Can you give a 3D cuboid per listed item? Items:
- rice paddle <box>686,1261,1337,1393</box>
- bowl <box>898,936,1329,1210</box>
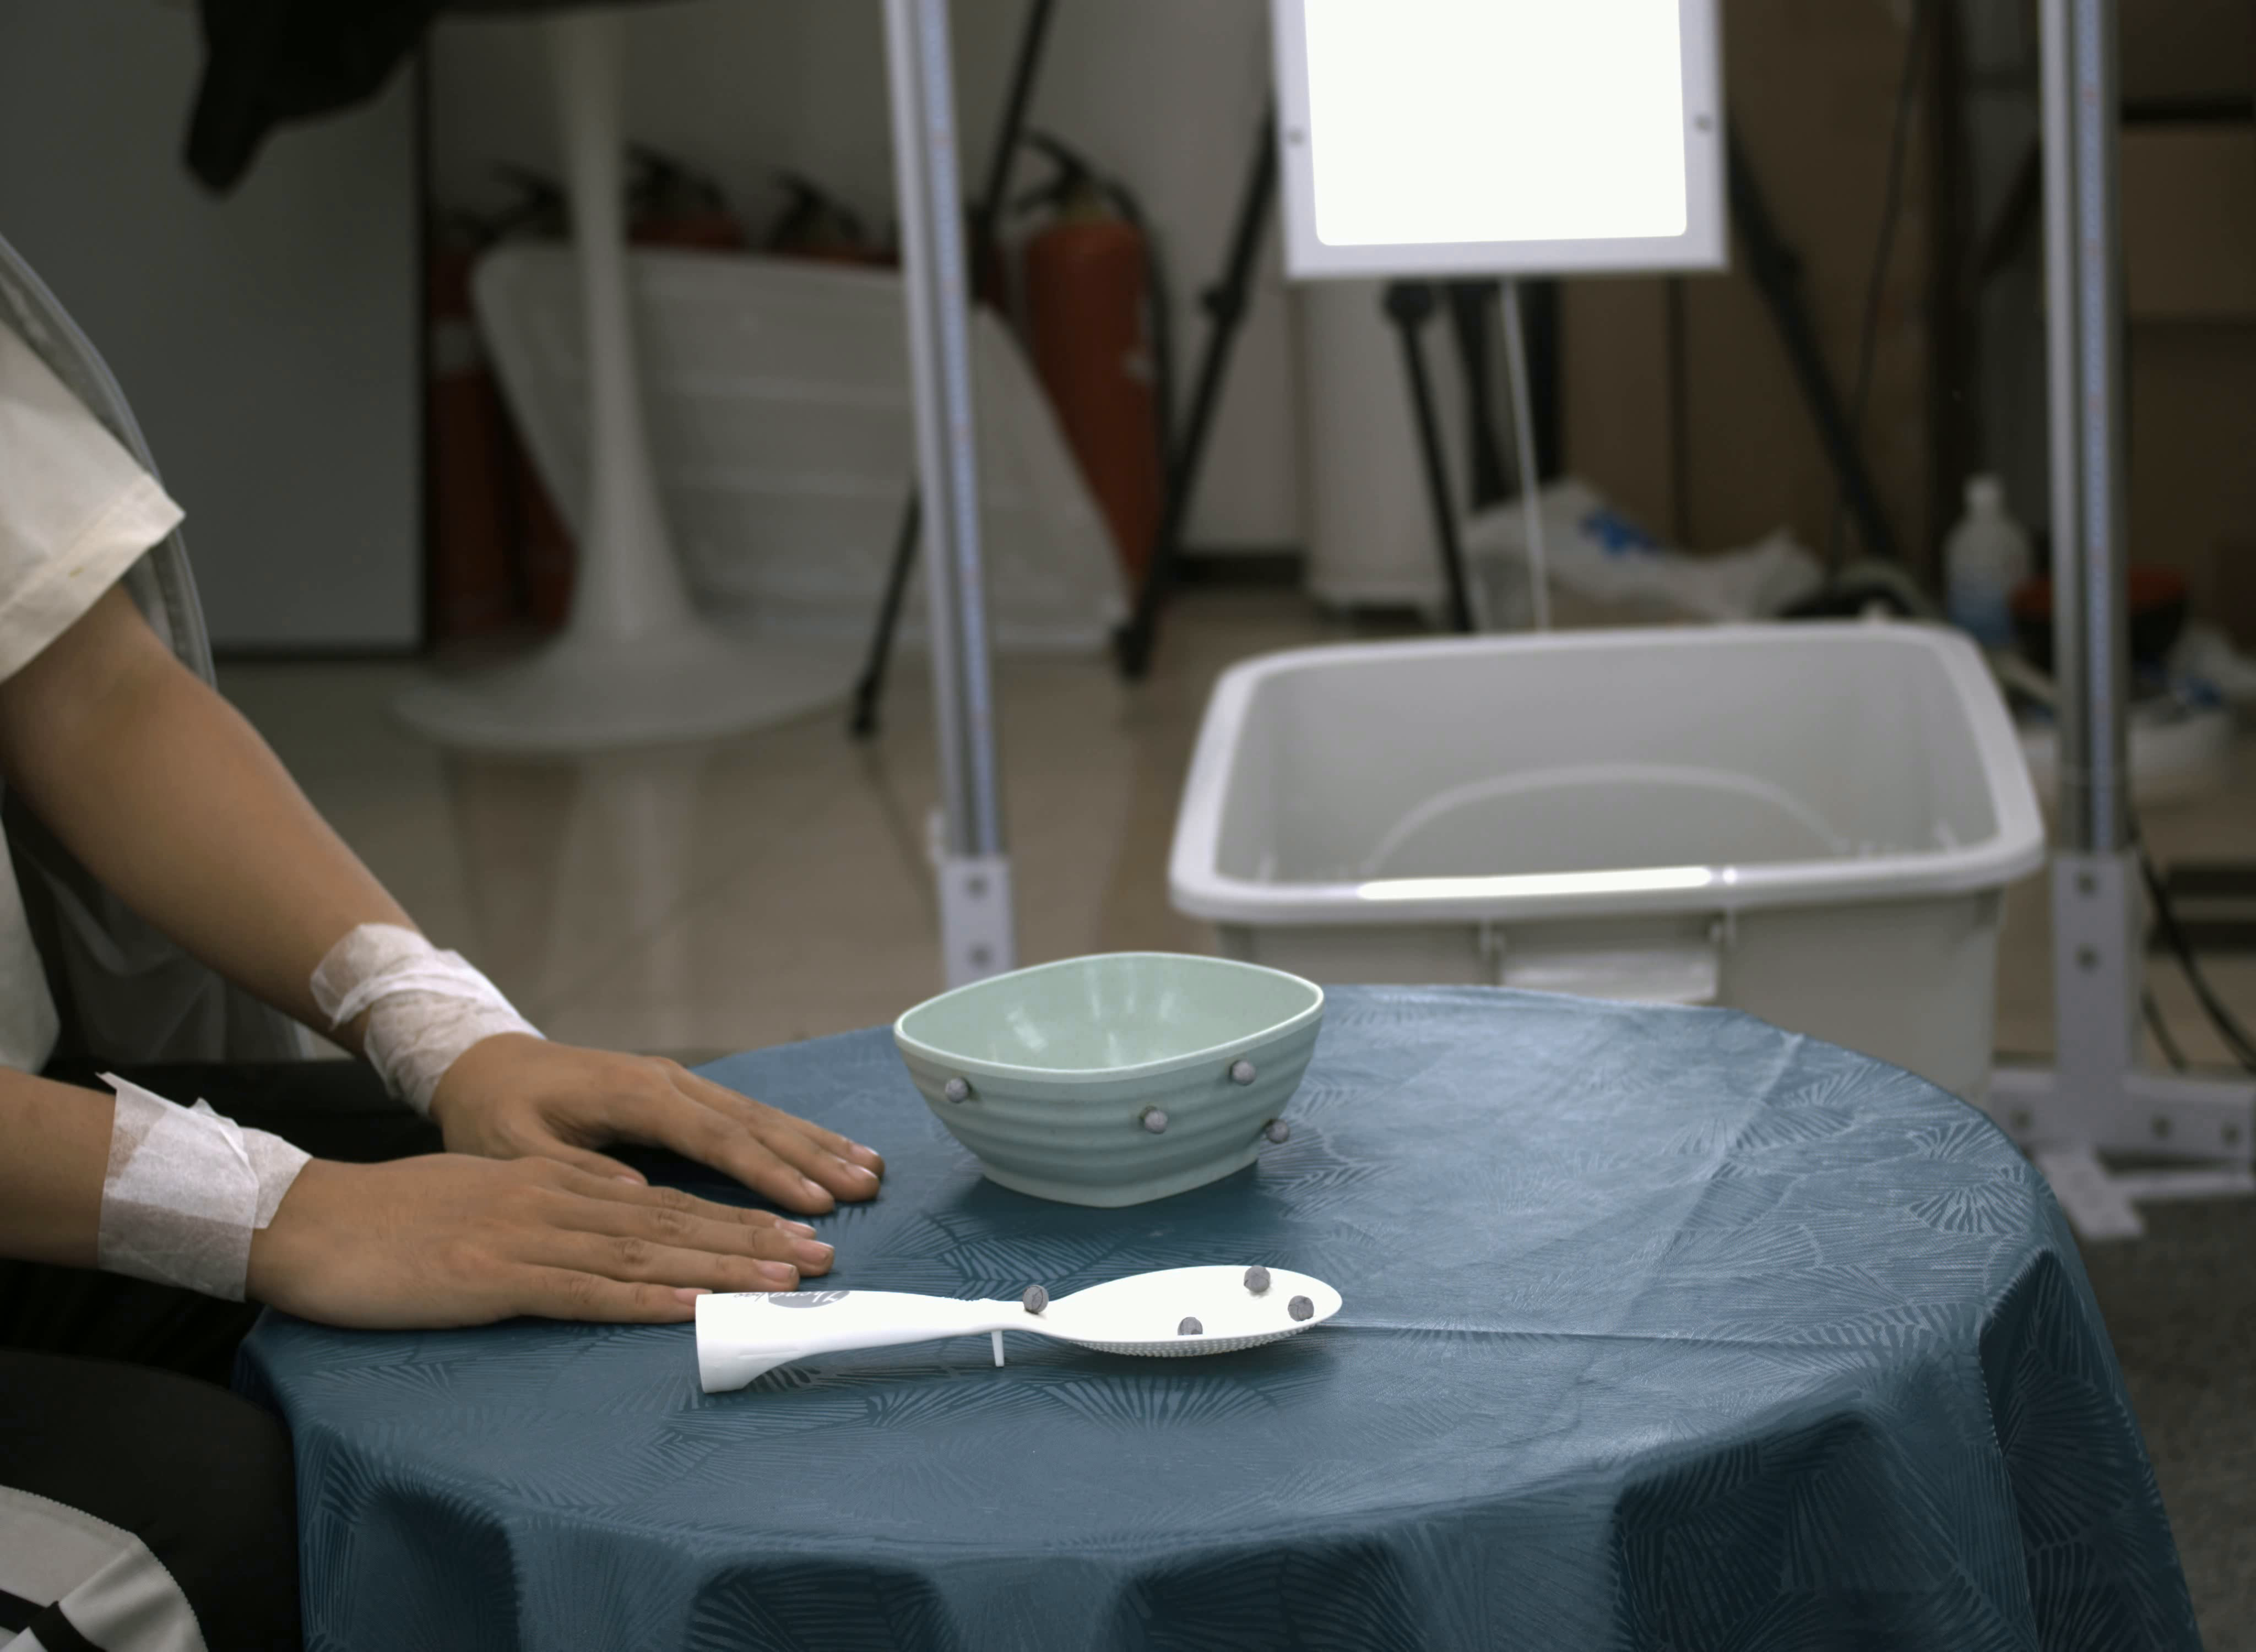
[{"bbox_3d":[-0.036,0.154,1.734,0.205,0.029,0.068,-5,15,2],"label":"rice paddle"},{"bbox_3d":[-0.003,0.089,1.922,0.151,0.059,0.151,-5,17,0],"label":"bowl"}]
